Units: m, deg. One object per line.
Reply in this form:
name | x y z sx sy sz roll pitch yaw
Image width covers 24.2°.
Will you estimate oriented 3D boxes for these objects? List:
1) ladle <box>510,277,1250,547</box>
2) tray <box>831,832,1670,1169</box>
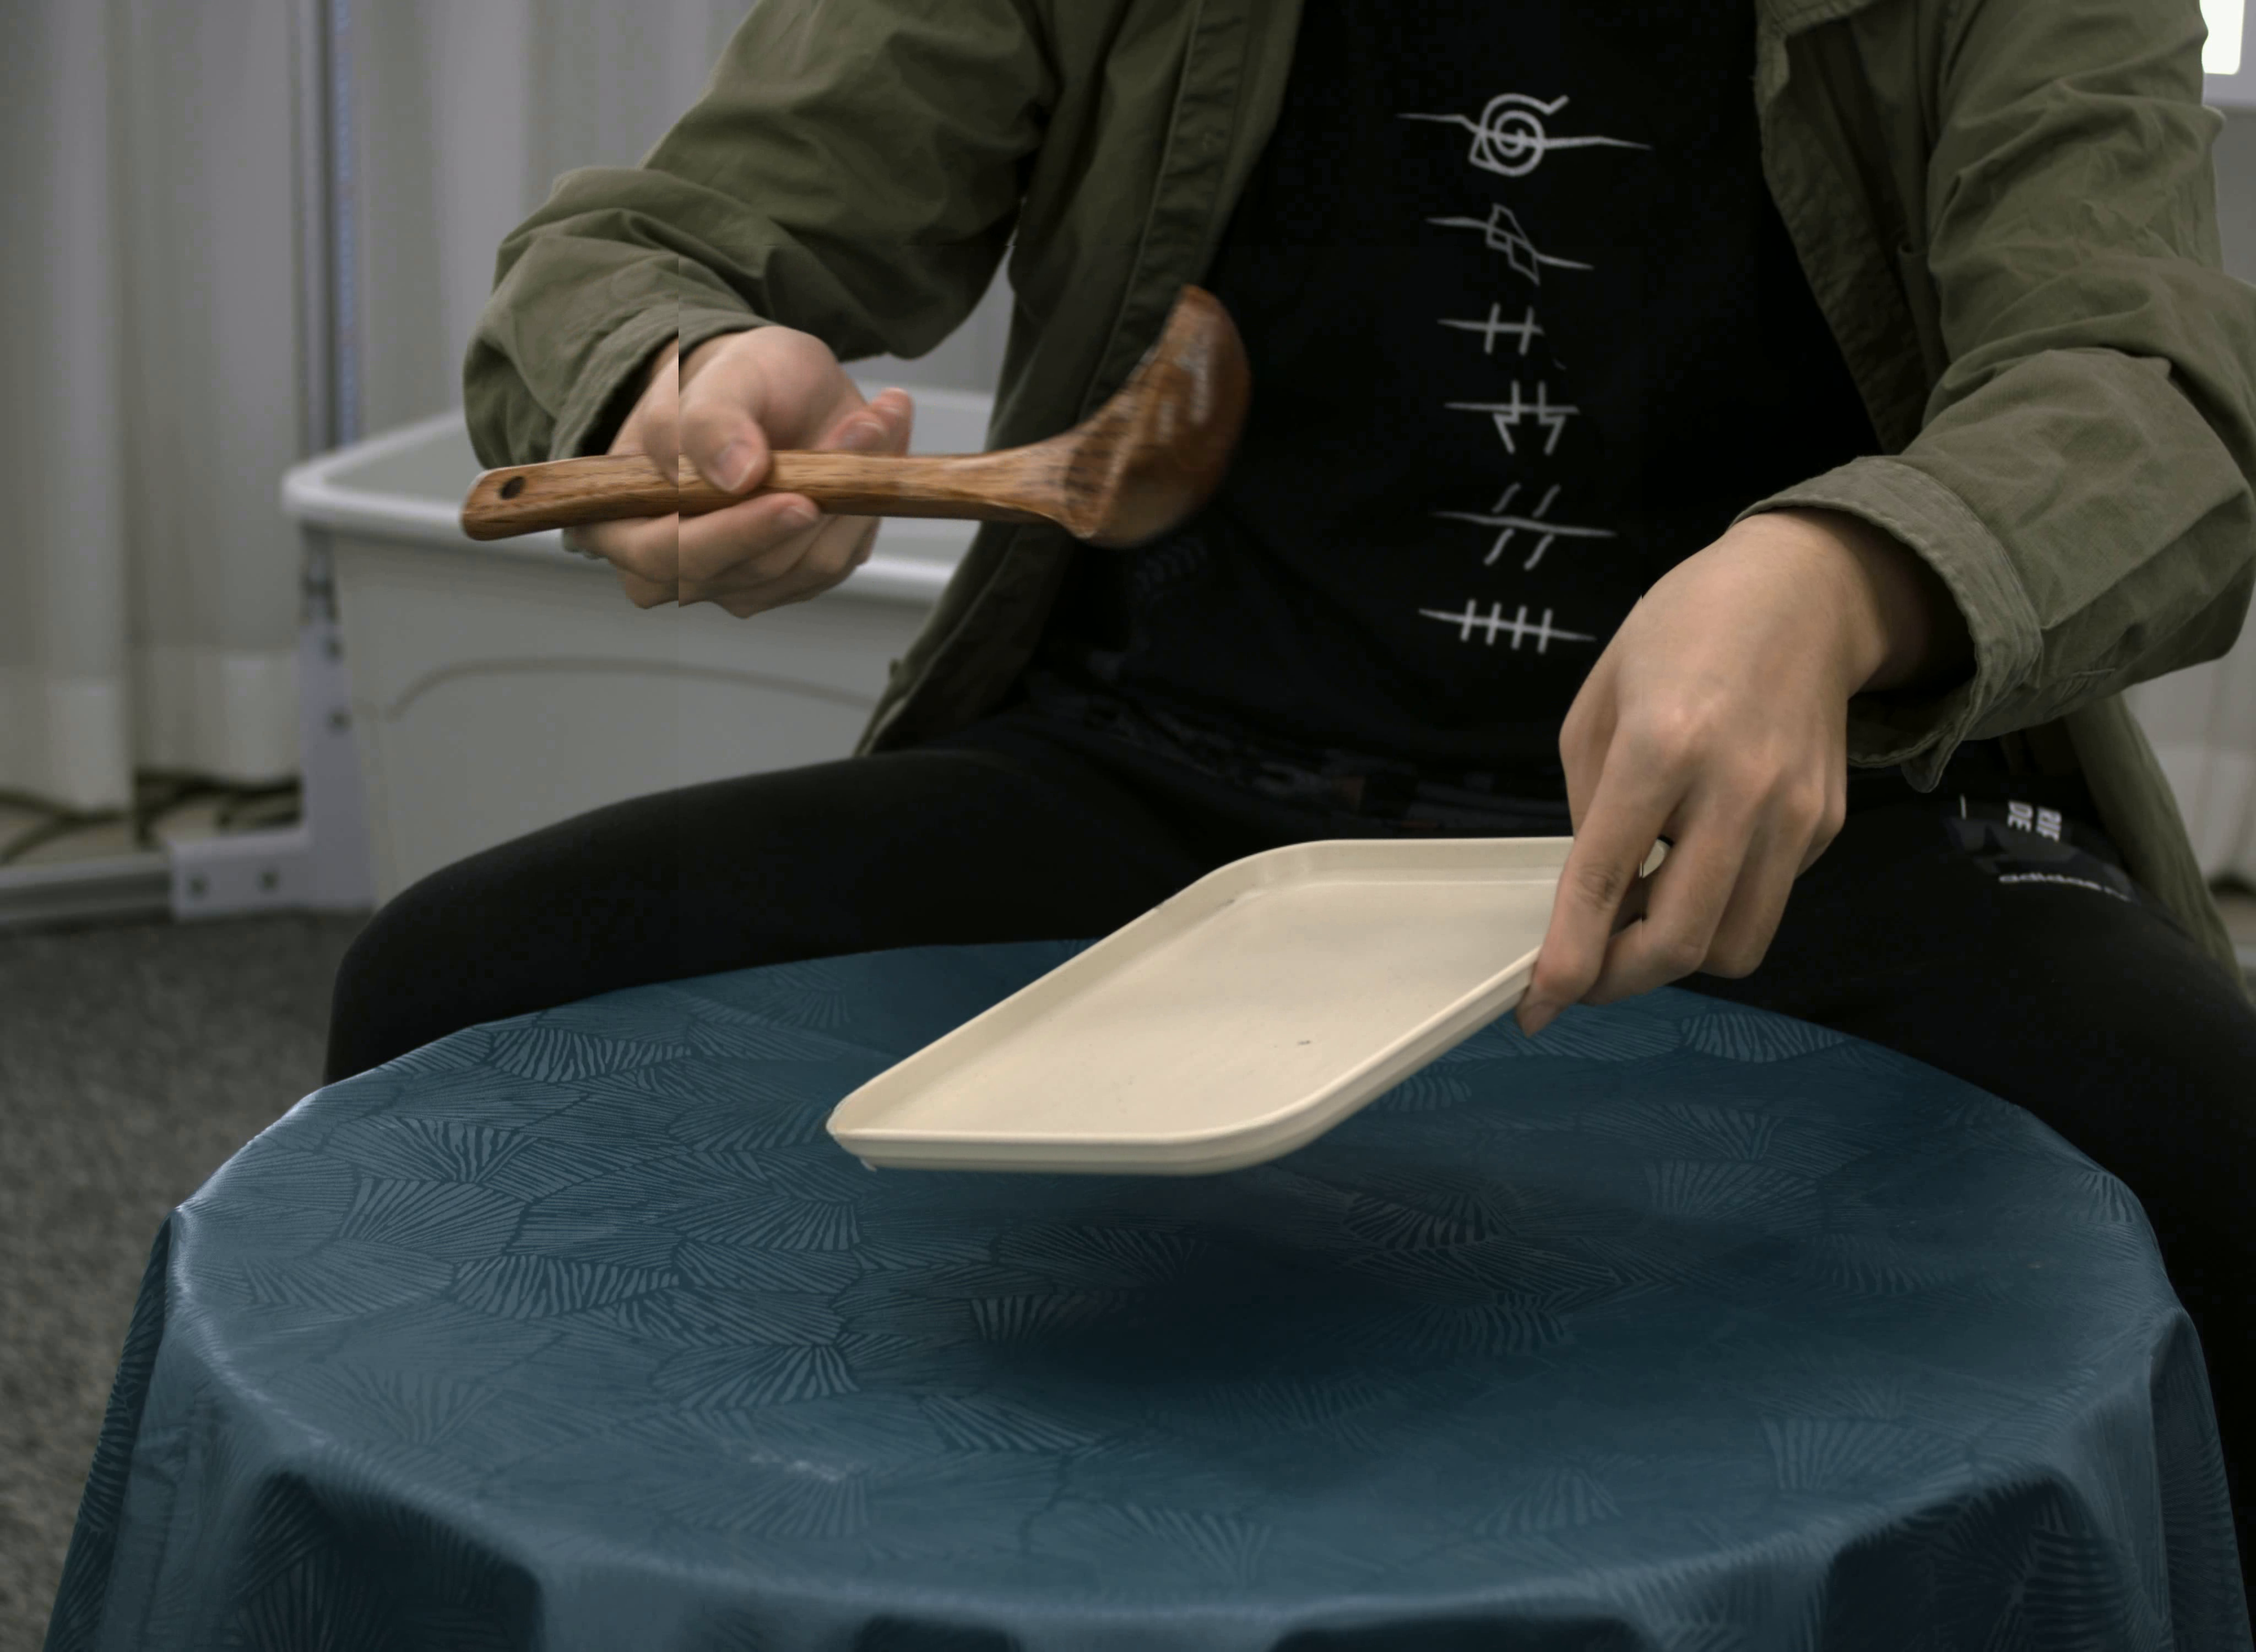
ladle | -0.085 -0.121 1.578 0.271 0.078 0.081 3 49 27
tray | 0.039 0.050 1.533 0.169 0.017 0.240 -1 19 39
